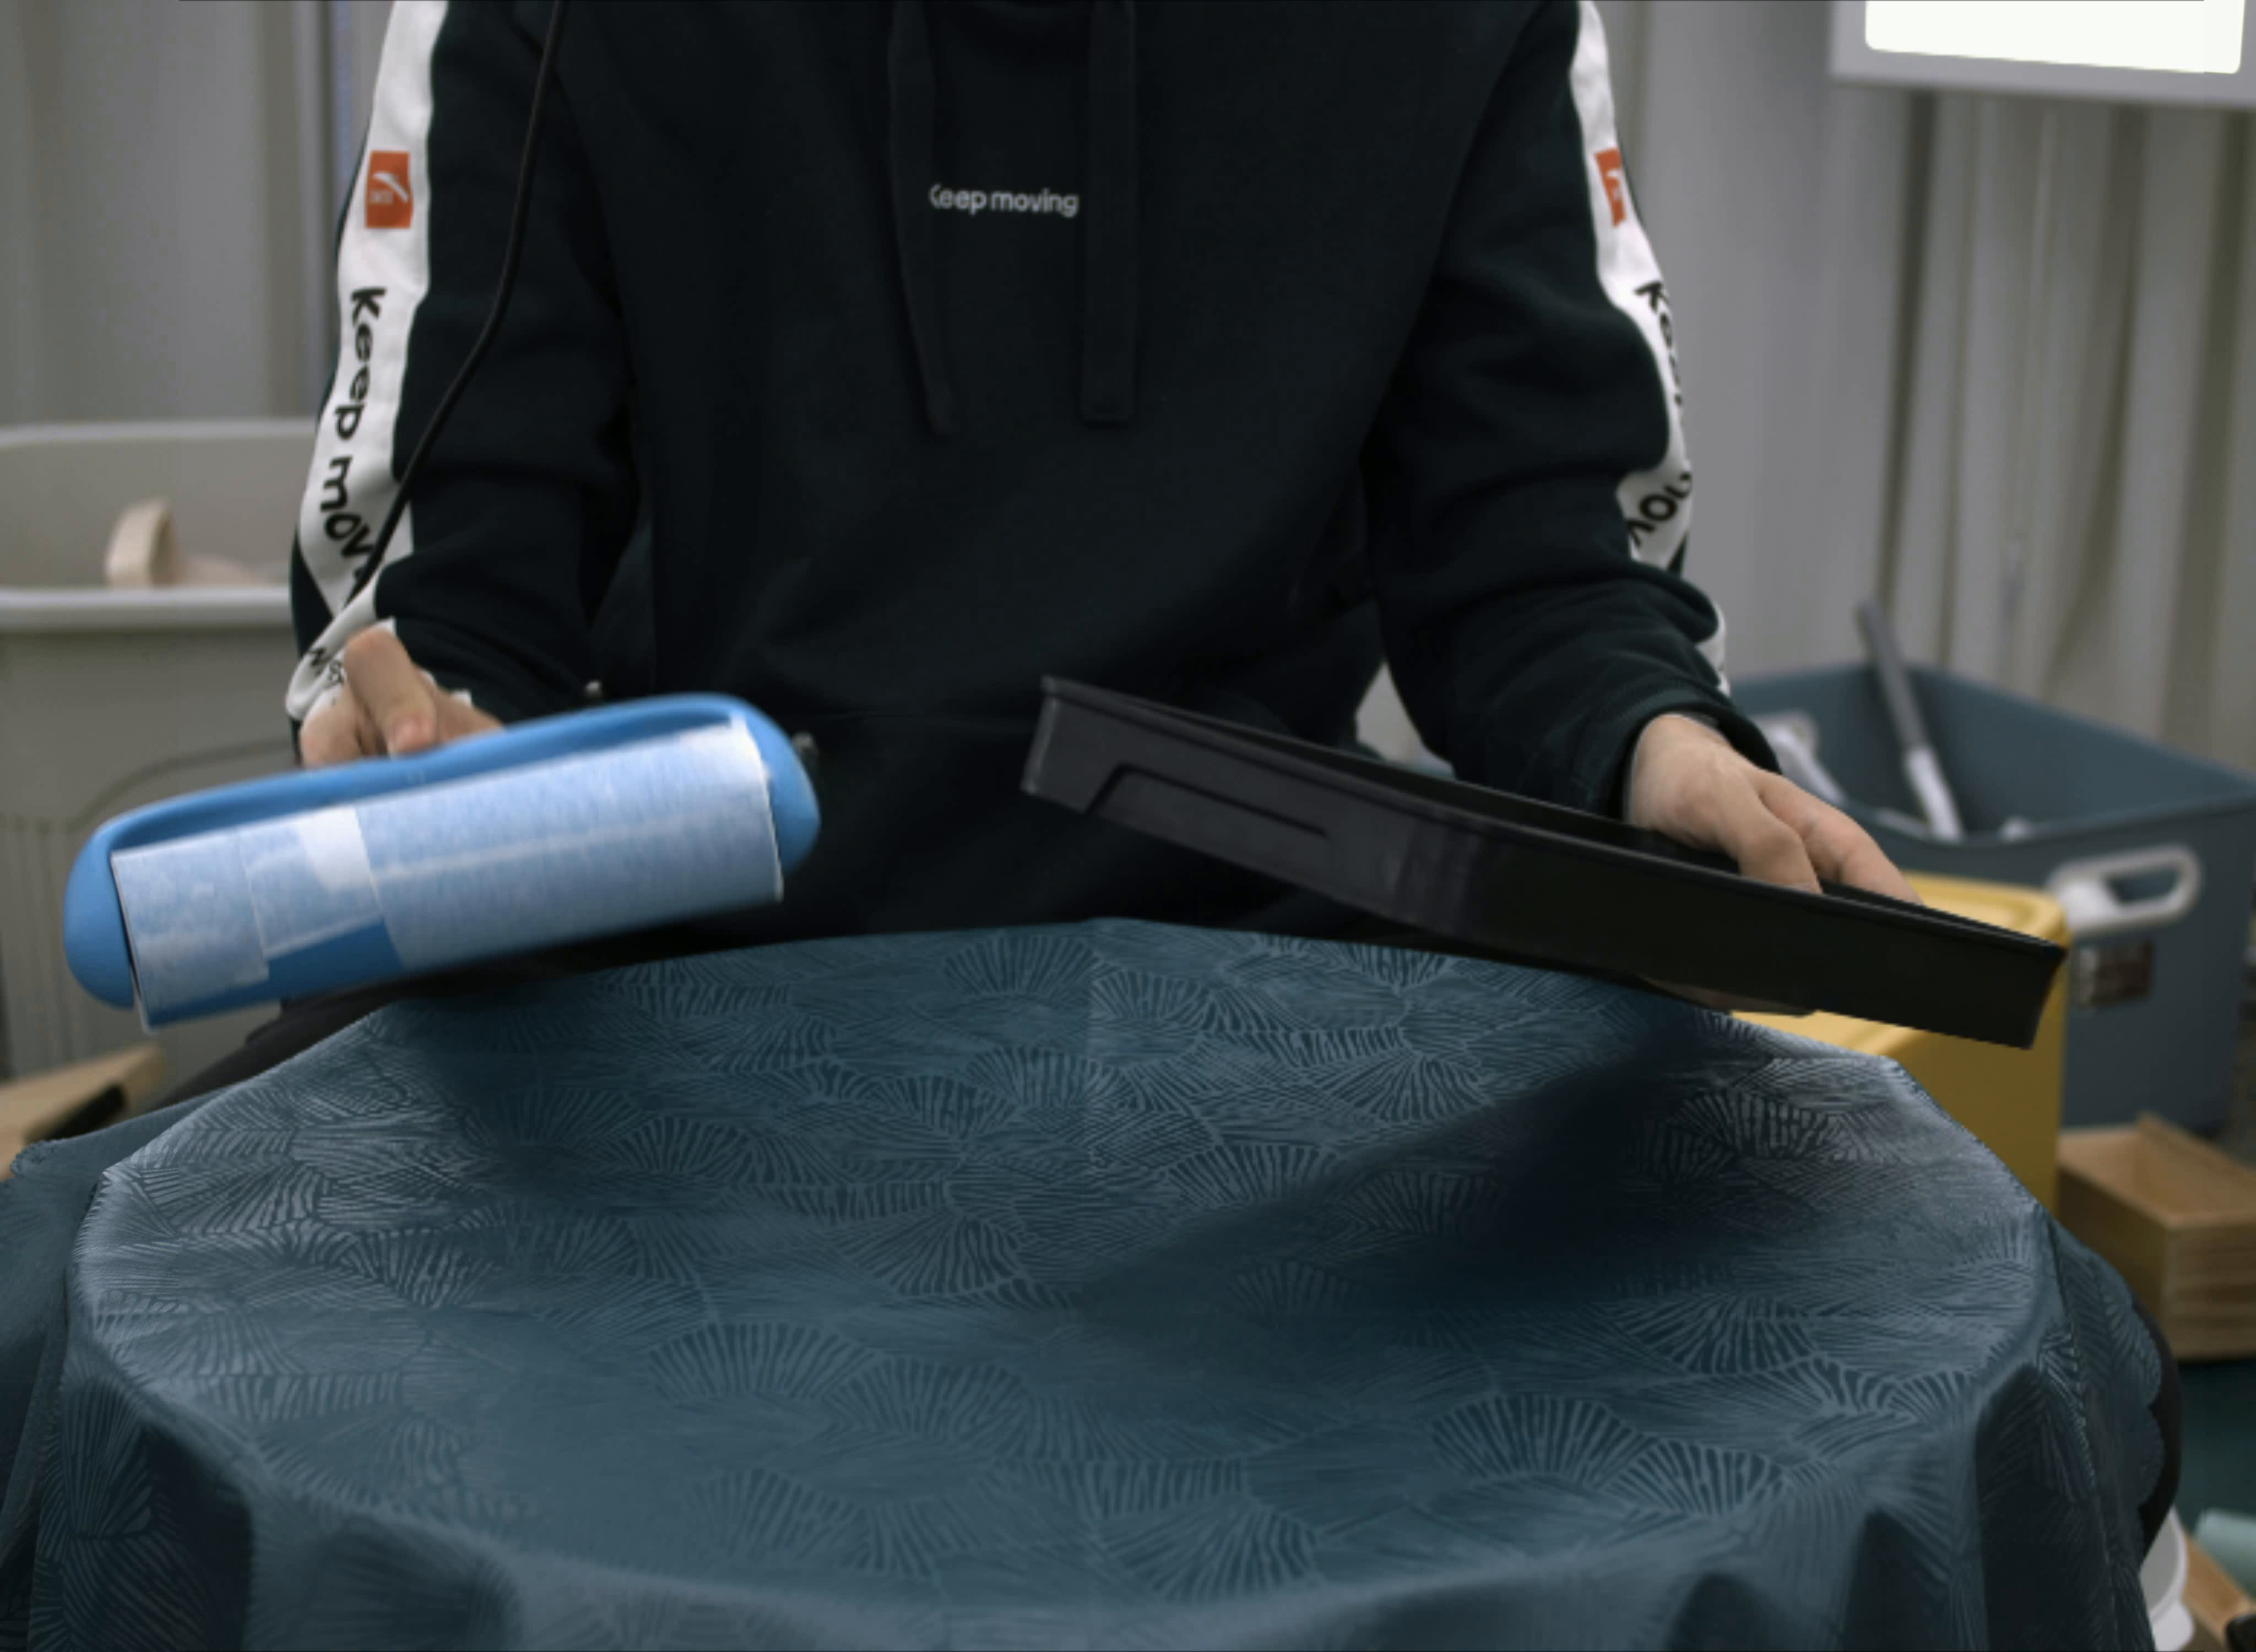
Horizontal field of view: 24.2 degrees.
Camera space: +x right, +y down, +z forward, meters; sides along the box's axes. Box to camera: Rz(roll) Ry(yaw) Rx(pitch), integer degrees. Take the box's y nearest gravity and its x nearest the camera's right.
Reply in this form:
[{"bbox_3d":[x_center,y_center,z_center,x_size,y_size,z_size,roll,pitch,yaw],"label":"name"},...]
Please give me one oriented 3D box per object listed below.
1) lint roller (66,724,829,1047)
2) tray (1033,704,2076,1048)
[{"bbox_3d":[-0.217,0.014,1.622,0.229,0.068,0.179,-13,8,-15],"label":"lint roller"},{"bbox_3d":[0.132,0.017,1.584,0.182,0.037,0.321,17,4,41],"label":"tray"}]
